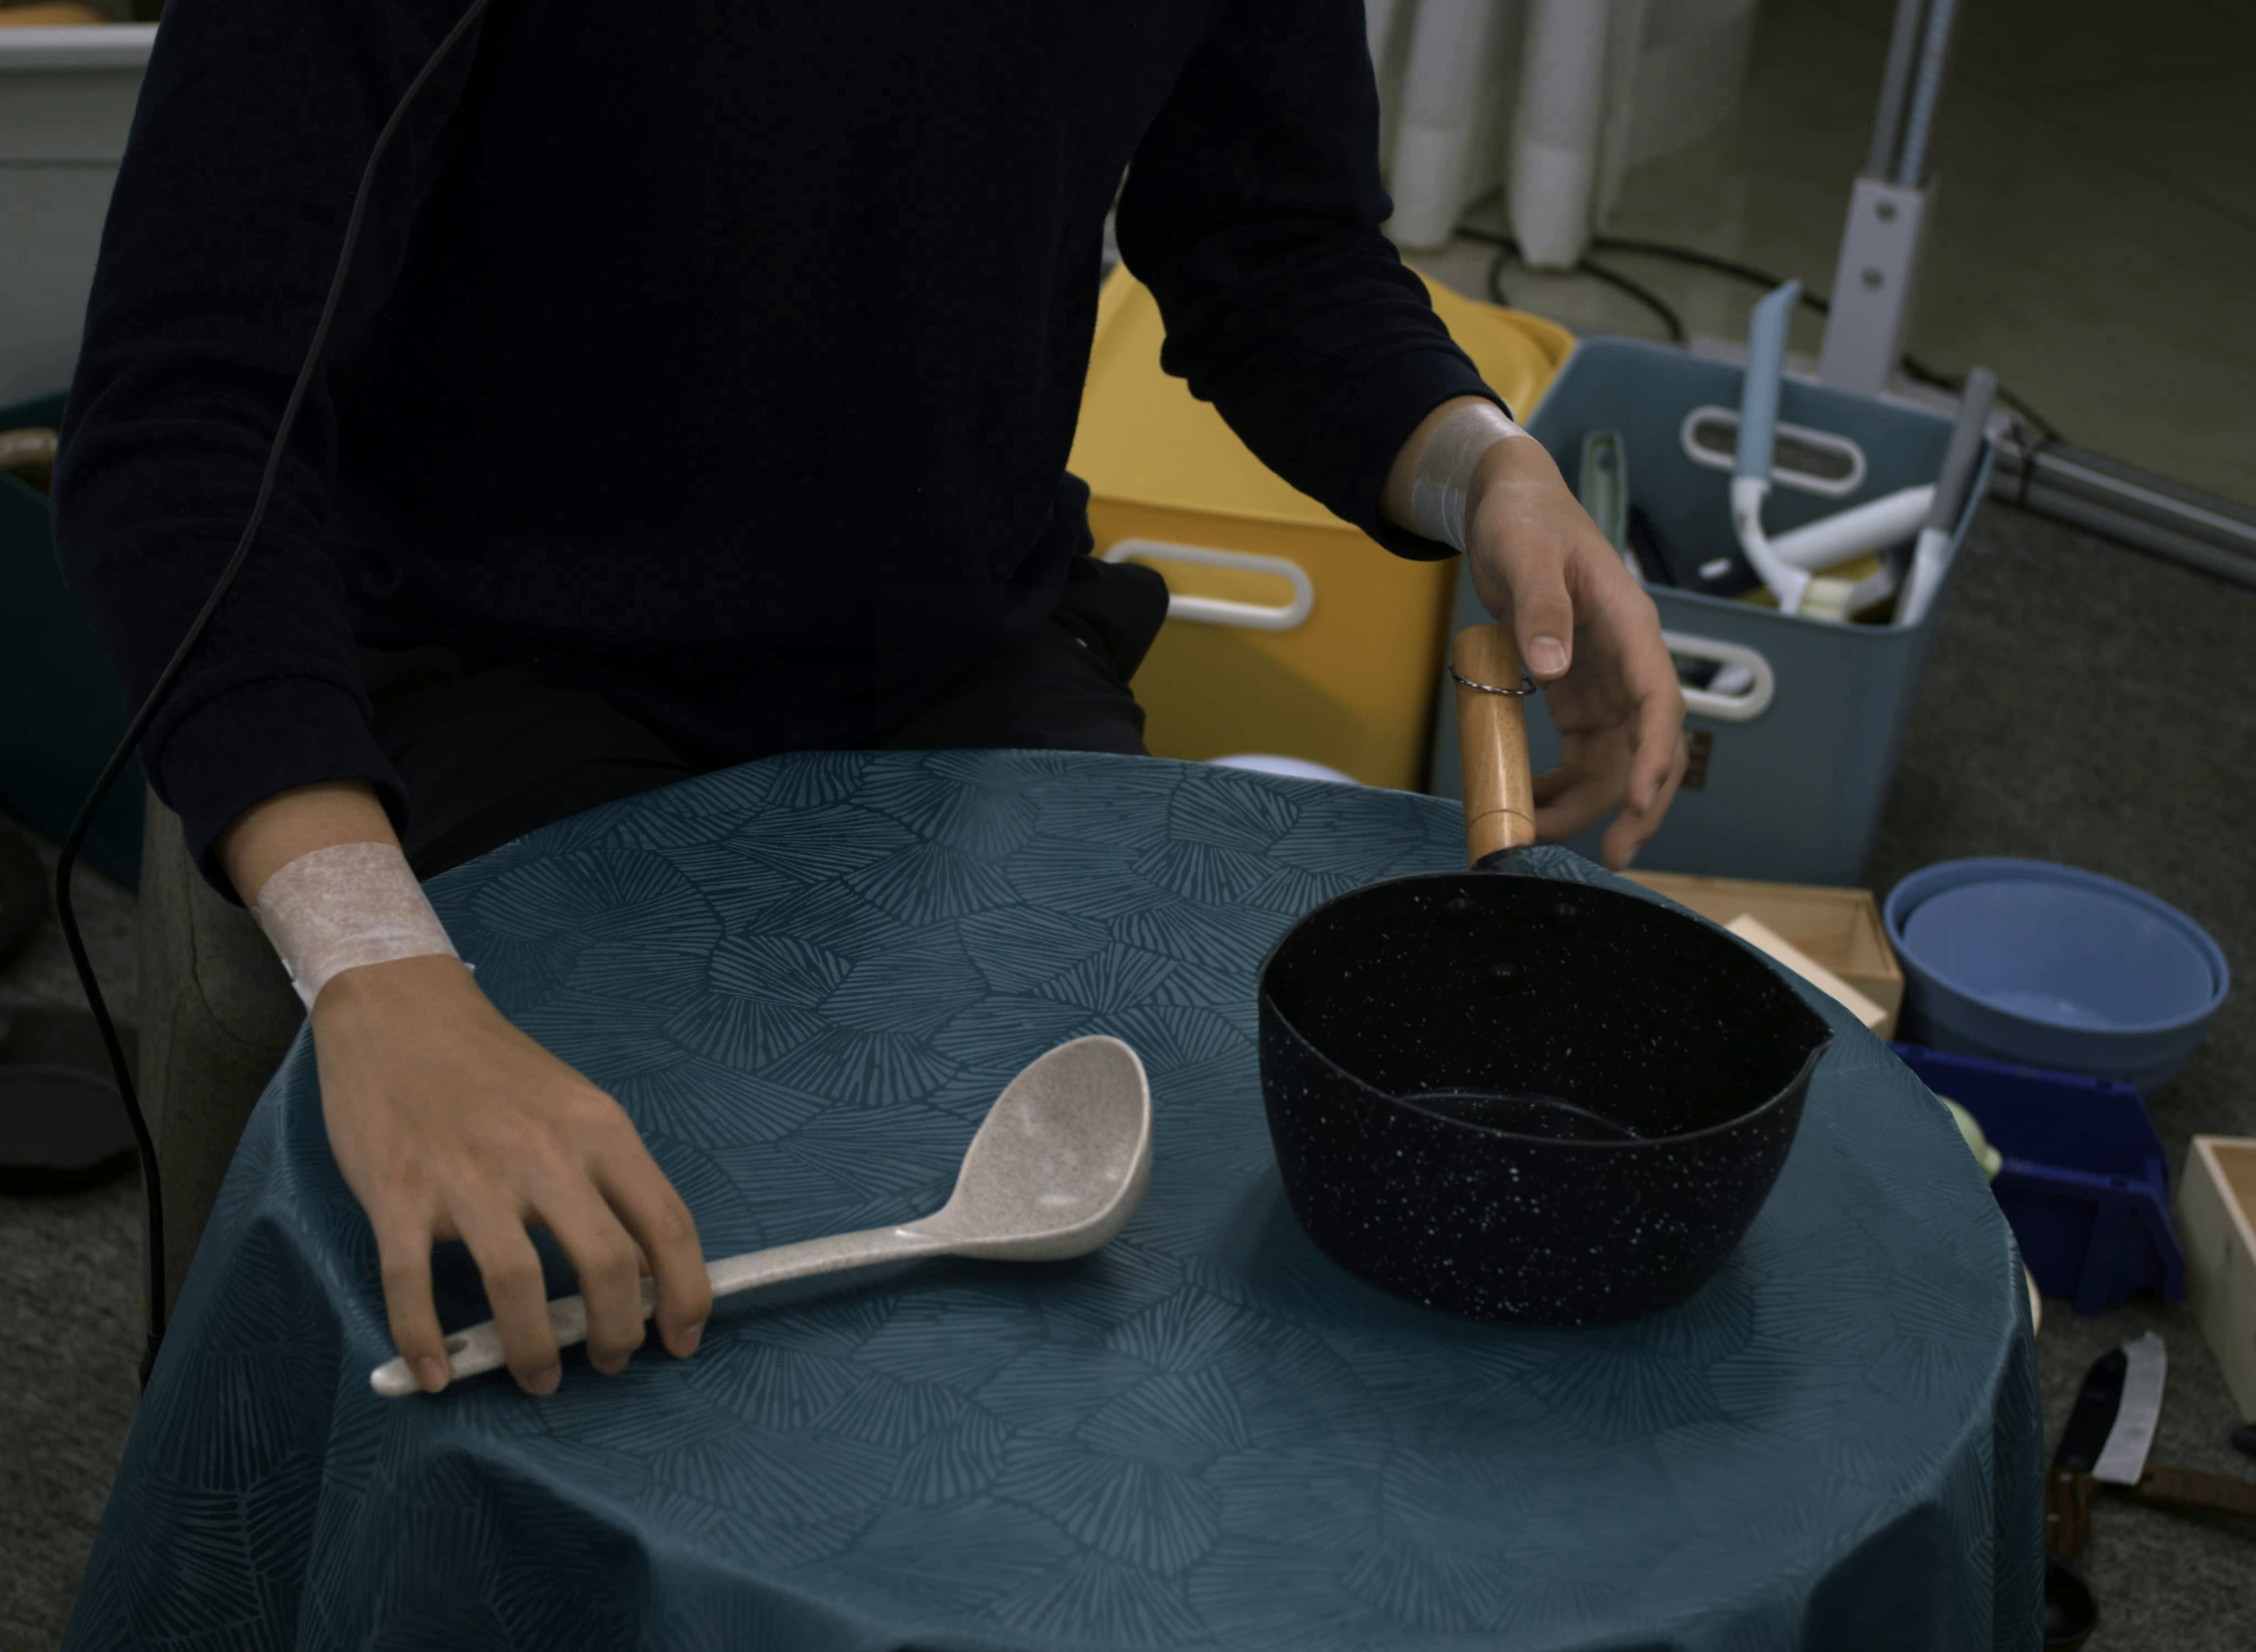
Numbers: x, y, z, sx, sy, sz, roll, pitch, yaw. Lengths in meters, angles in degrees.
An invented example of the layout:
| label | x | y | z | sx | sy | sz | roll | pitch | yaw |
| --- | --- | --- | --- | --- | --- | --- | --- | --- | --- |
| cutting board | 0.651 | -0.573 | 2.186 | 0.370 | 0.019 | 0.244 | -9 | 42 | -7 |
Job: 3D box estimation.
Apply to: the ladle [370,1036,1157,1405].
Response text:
| label | x | y | z | sx | sy | sz | roll | pitch | yaw |
| --- | --- | --- | --- | --- | --- | --- | --- | --- | --- |
| ladle | -0.116 | 0.125 | 1.701 | 0.273 | 0.069 | 0.090 | -10 | 24 | -29 |

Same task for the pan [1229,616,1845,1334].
| label | x | y | z | sx | sy | sz | roll | pitch | yaw |
| --- | --- | --- | --- | --- | --- | --- | --- | --- | --- |
| pan | 0.131 | 0.048 | 1.861 | 0.207 | 0.108 | 0.345 | 3 | 29 | -4 |
